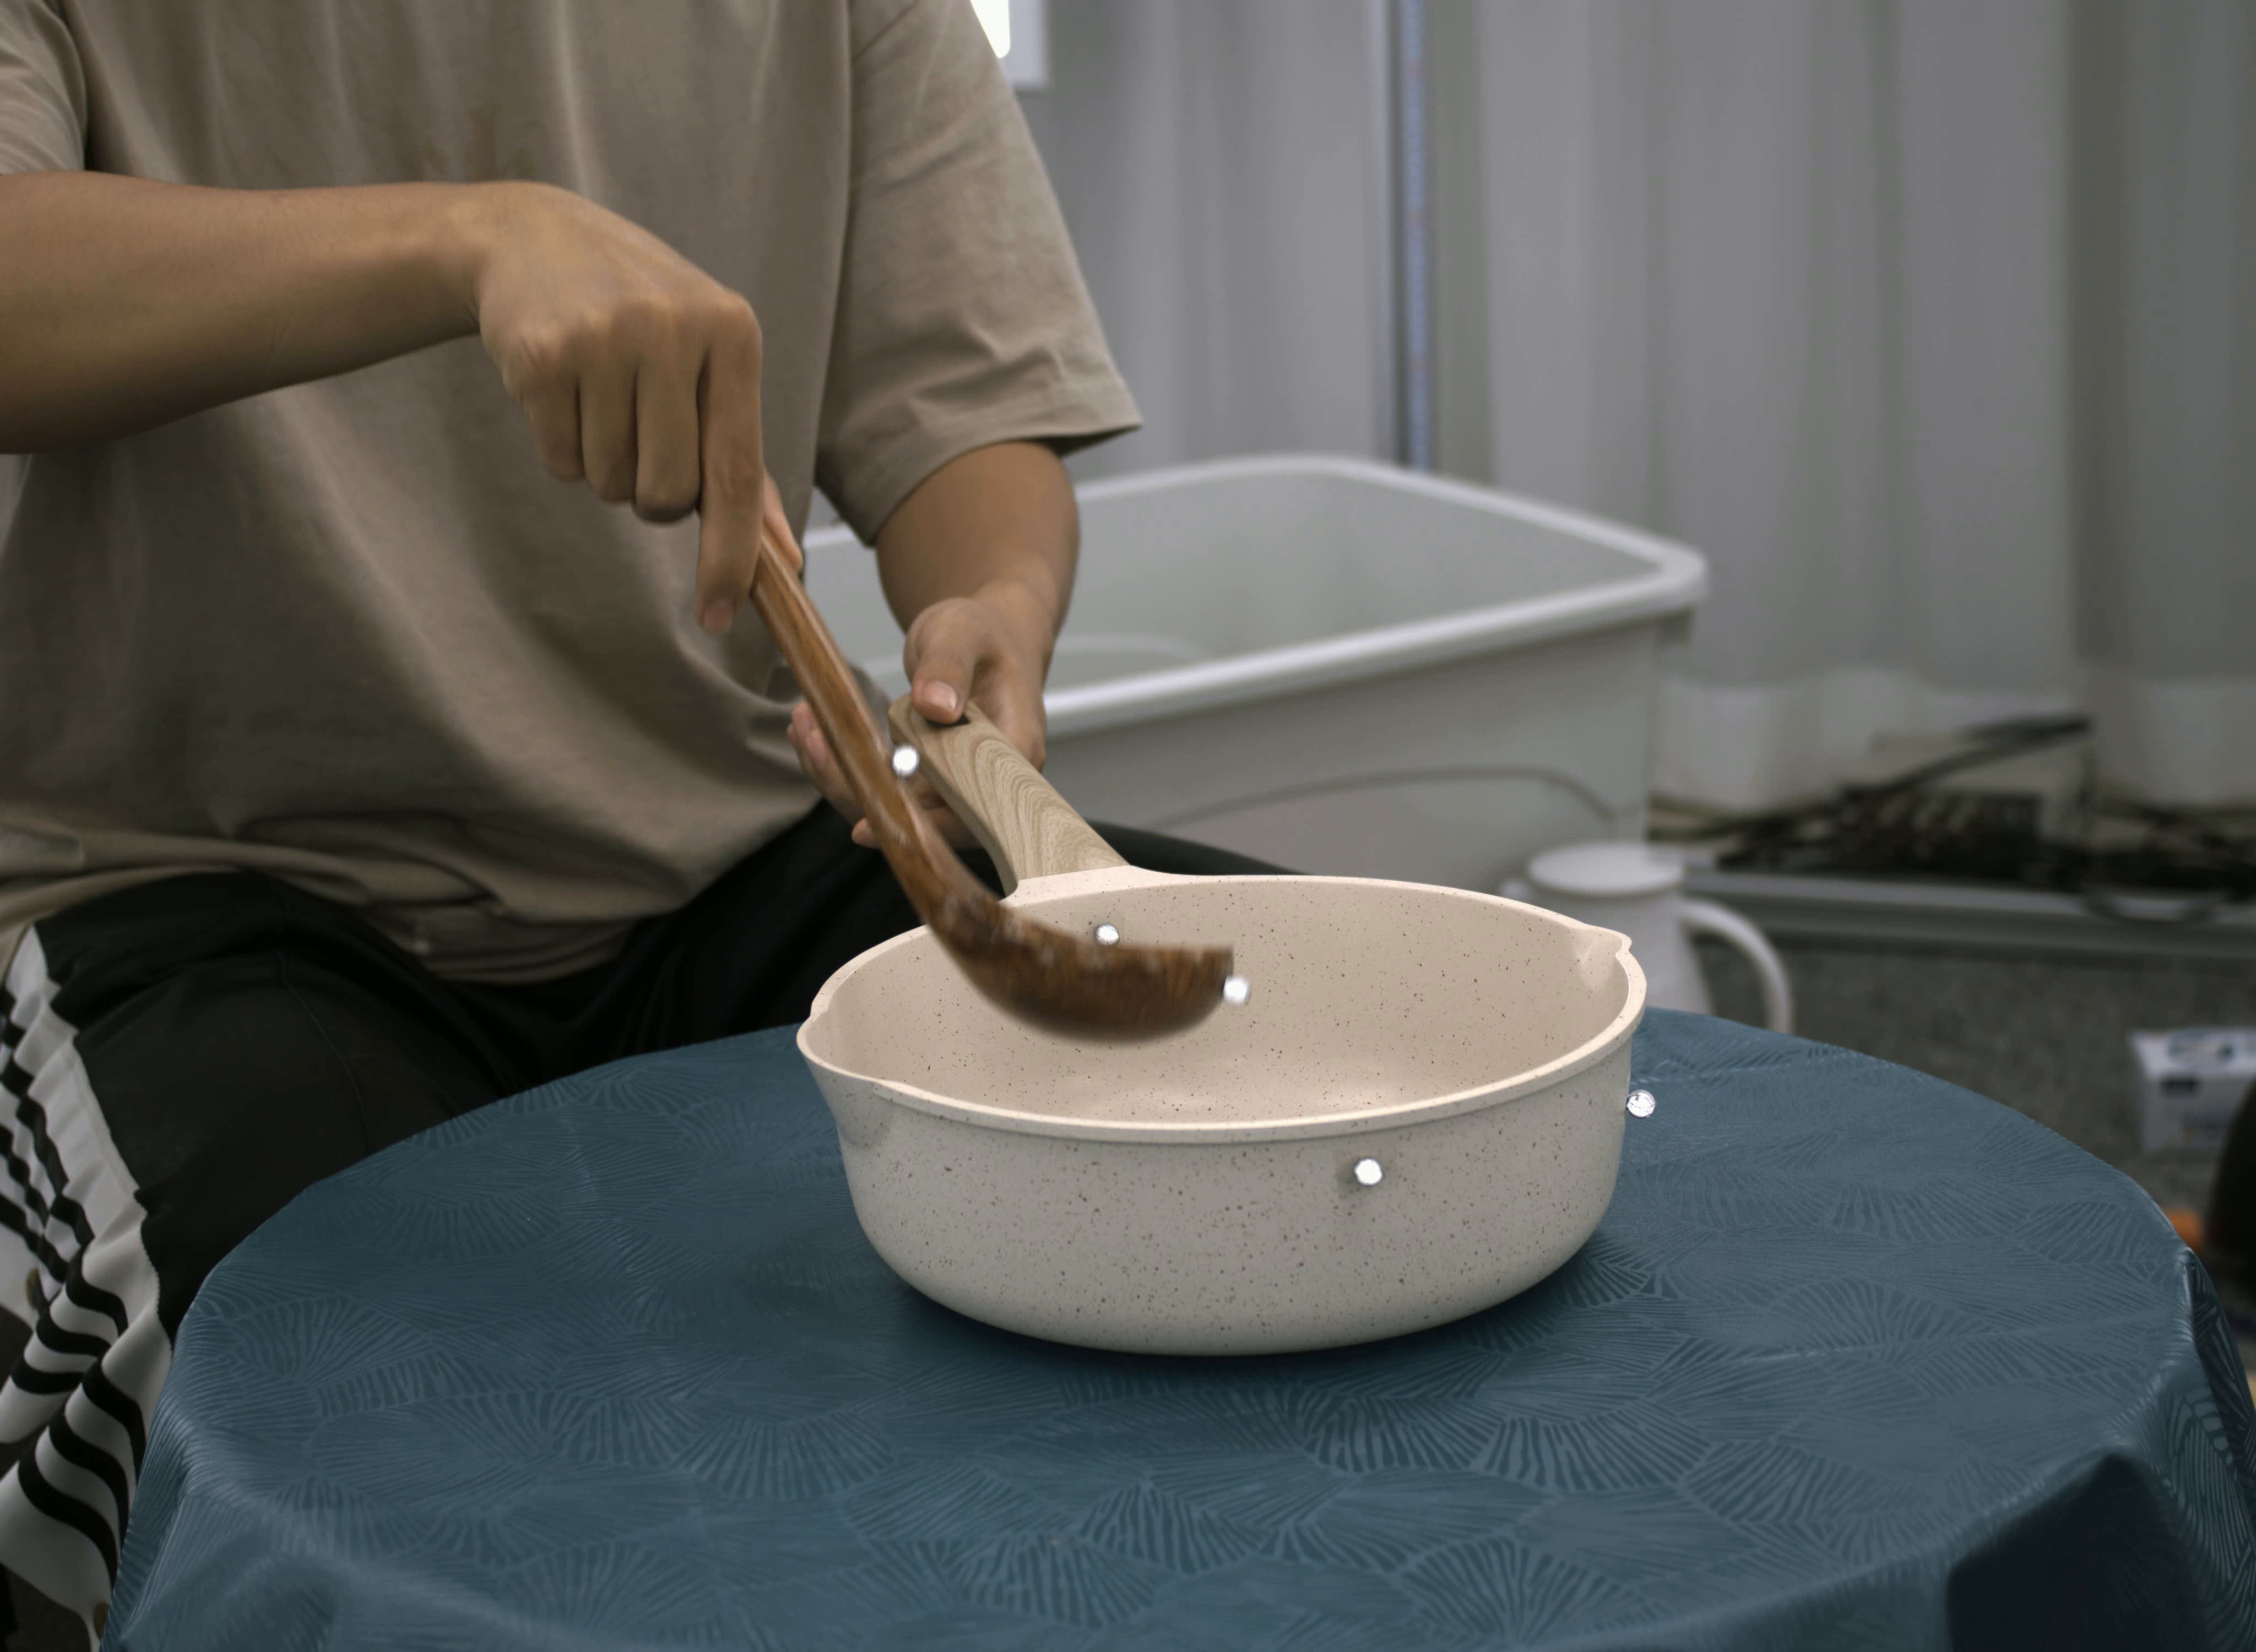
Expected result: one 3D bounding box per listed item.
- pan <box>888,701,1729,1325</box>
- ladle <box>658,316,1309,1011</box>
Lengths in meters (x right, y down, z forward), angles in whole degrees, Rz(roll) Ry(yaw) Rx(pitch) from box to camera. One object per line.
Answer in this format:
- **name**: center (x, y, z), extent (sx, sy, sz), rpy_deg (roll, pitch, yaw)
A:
- **pan**: center (0.026, 0.053, 1.735), extent (0.262, 0.101, 0.438), rpy_deg (-9, 16, -18)
- **ladle**: center (-0.042, -0.057, 1.635), extent (0.076, 0.276, 0.081), rpy_deg (-33, -13, 7)
